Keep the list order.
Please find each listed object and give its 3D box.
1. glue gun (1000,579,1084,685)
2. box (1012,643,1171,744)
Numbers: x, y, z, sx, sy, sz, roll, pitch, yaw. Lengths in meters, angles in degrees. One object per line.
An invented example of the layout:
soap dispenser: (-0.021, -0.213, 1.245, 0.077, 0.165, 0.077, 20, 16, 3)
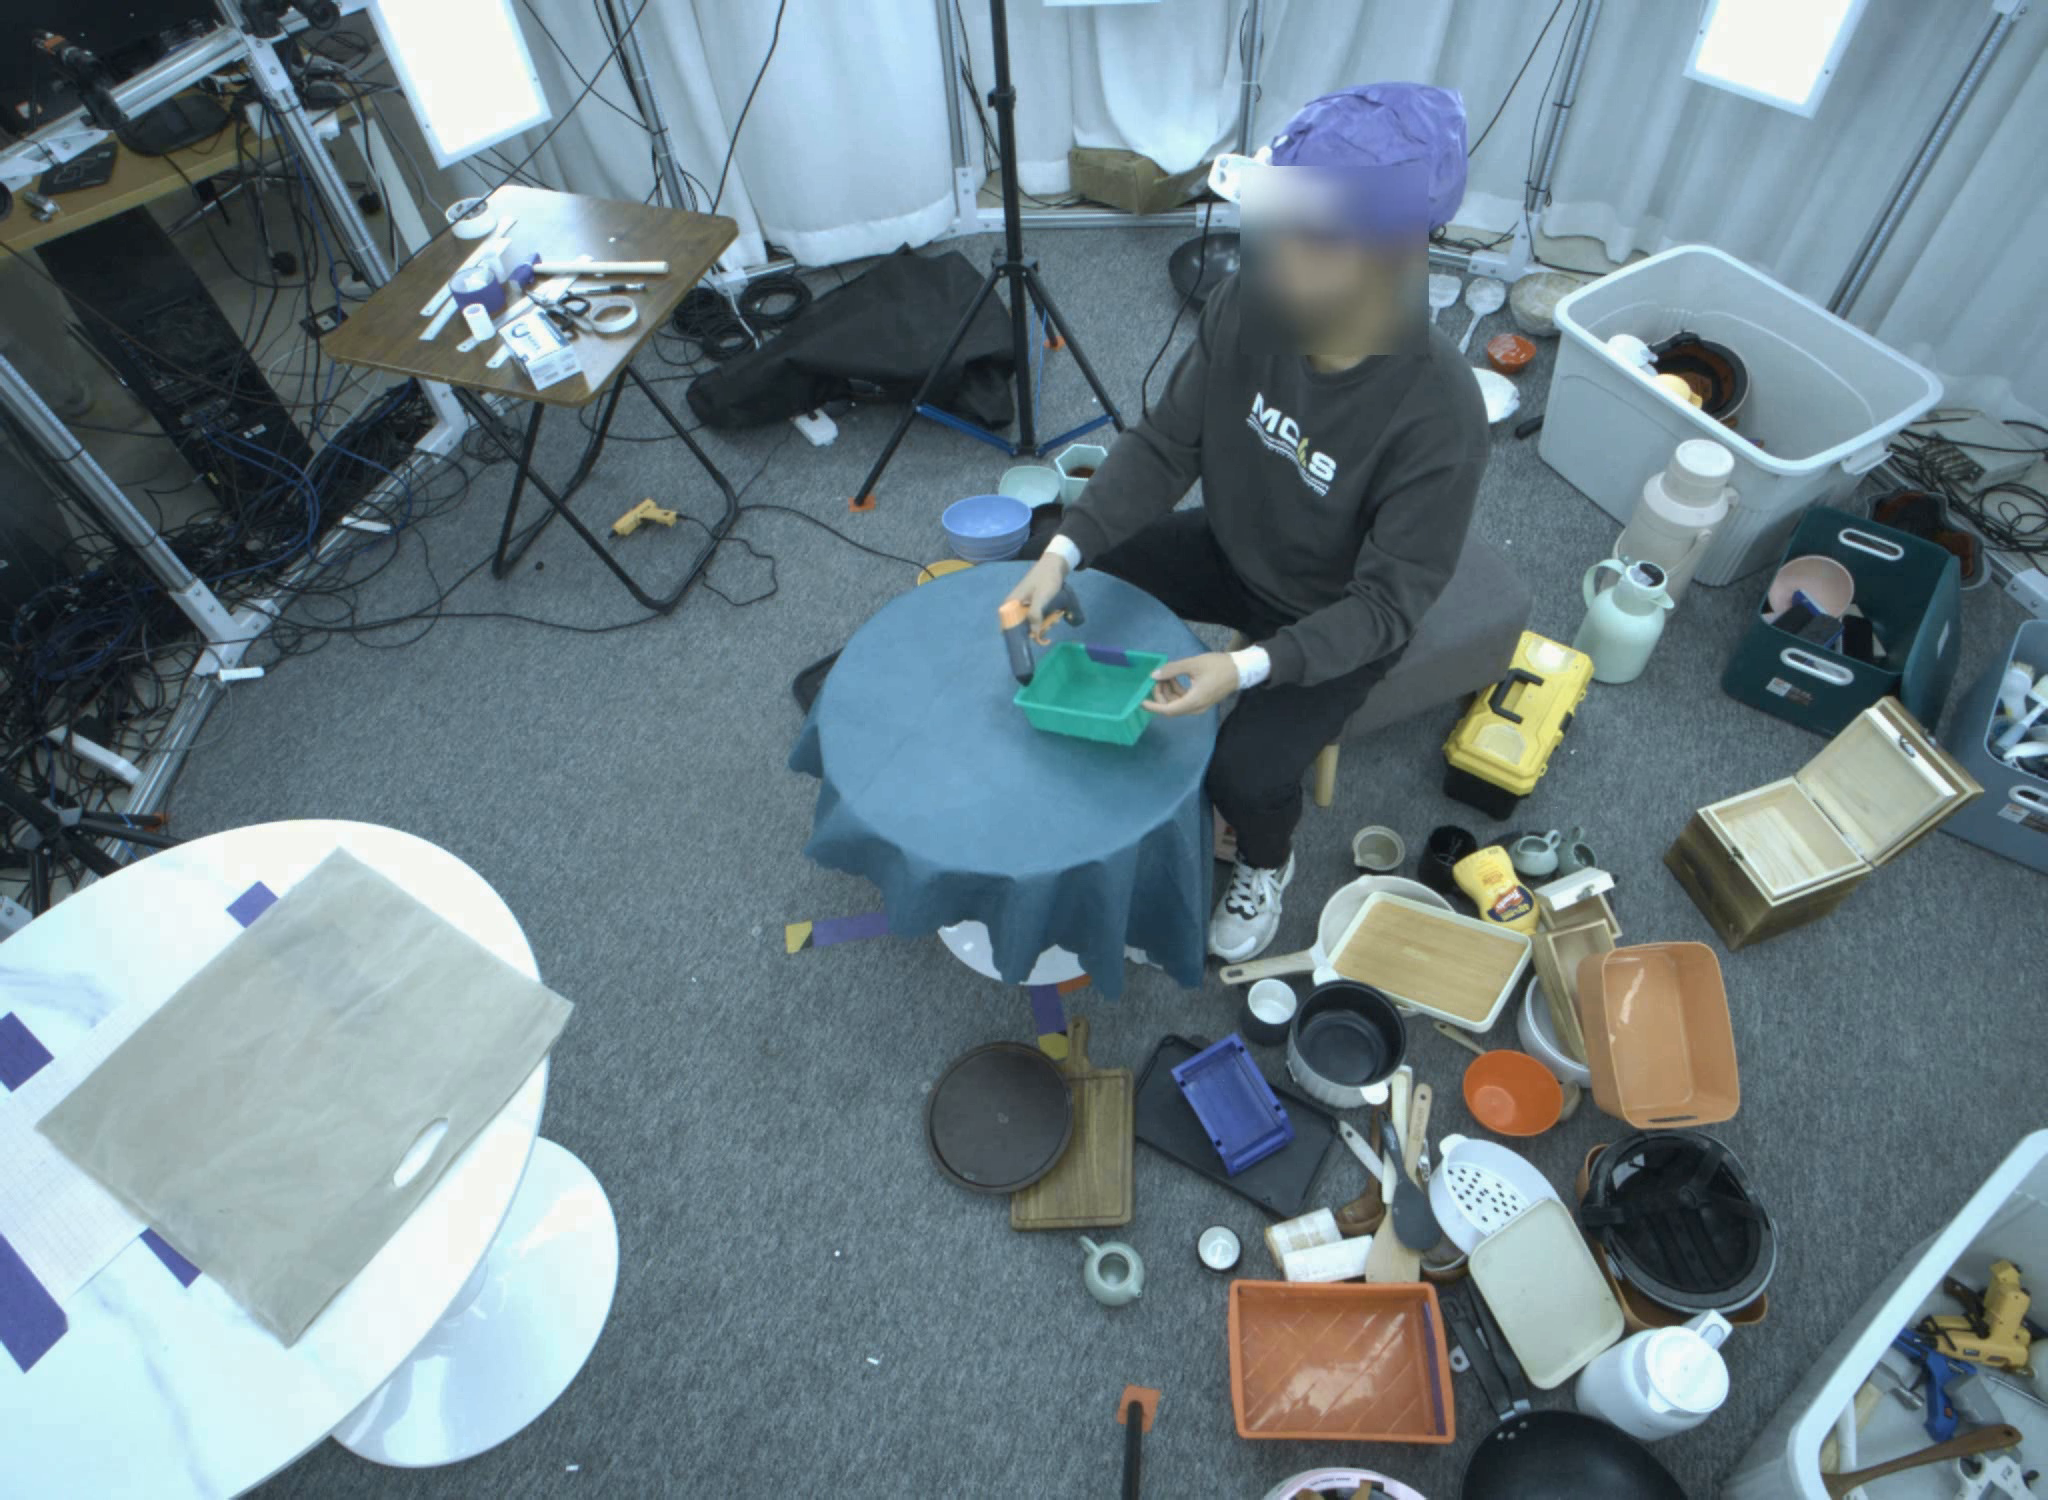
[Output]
glue gun: (0.022, -0.175, 1.784, 0.141, 0.120, 0.040, -41, 36, -25)
box: (0.100, -0.080, 1.765, 0.206, 0.066, 0.139, 9, 50, 38)
